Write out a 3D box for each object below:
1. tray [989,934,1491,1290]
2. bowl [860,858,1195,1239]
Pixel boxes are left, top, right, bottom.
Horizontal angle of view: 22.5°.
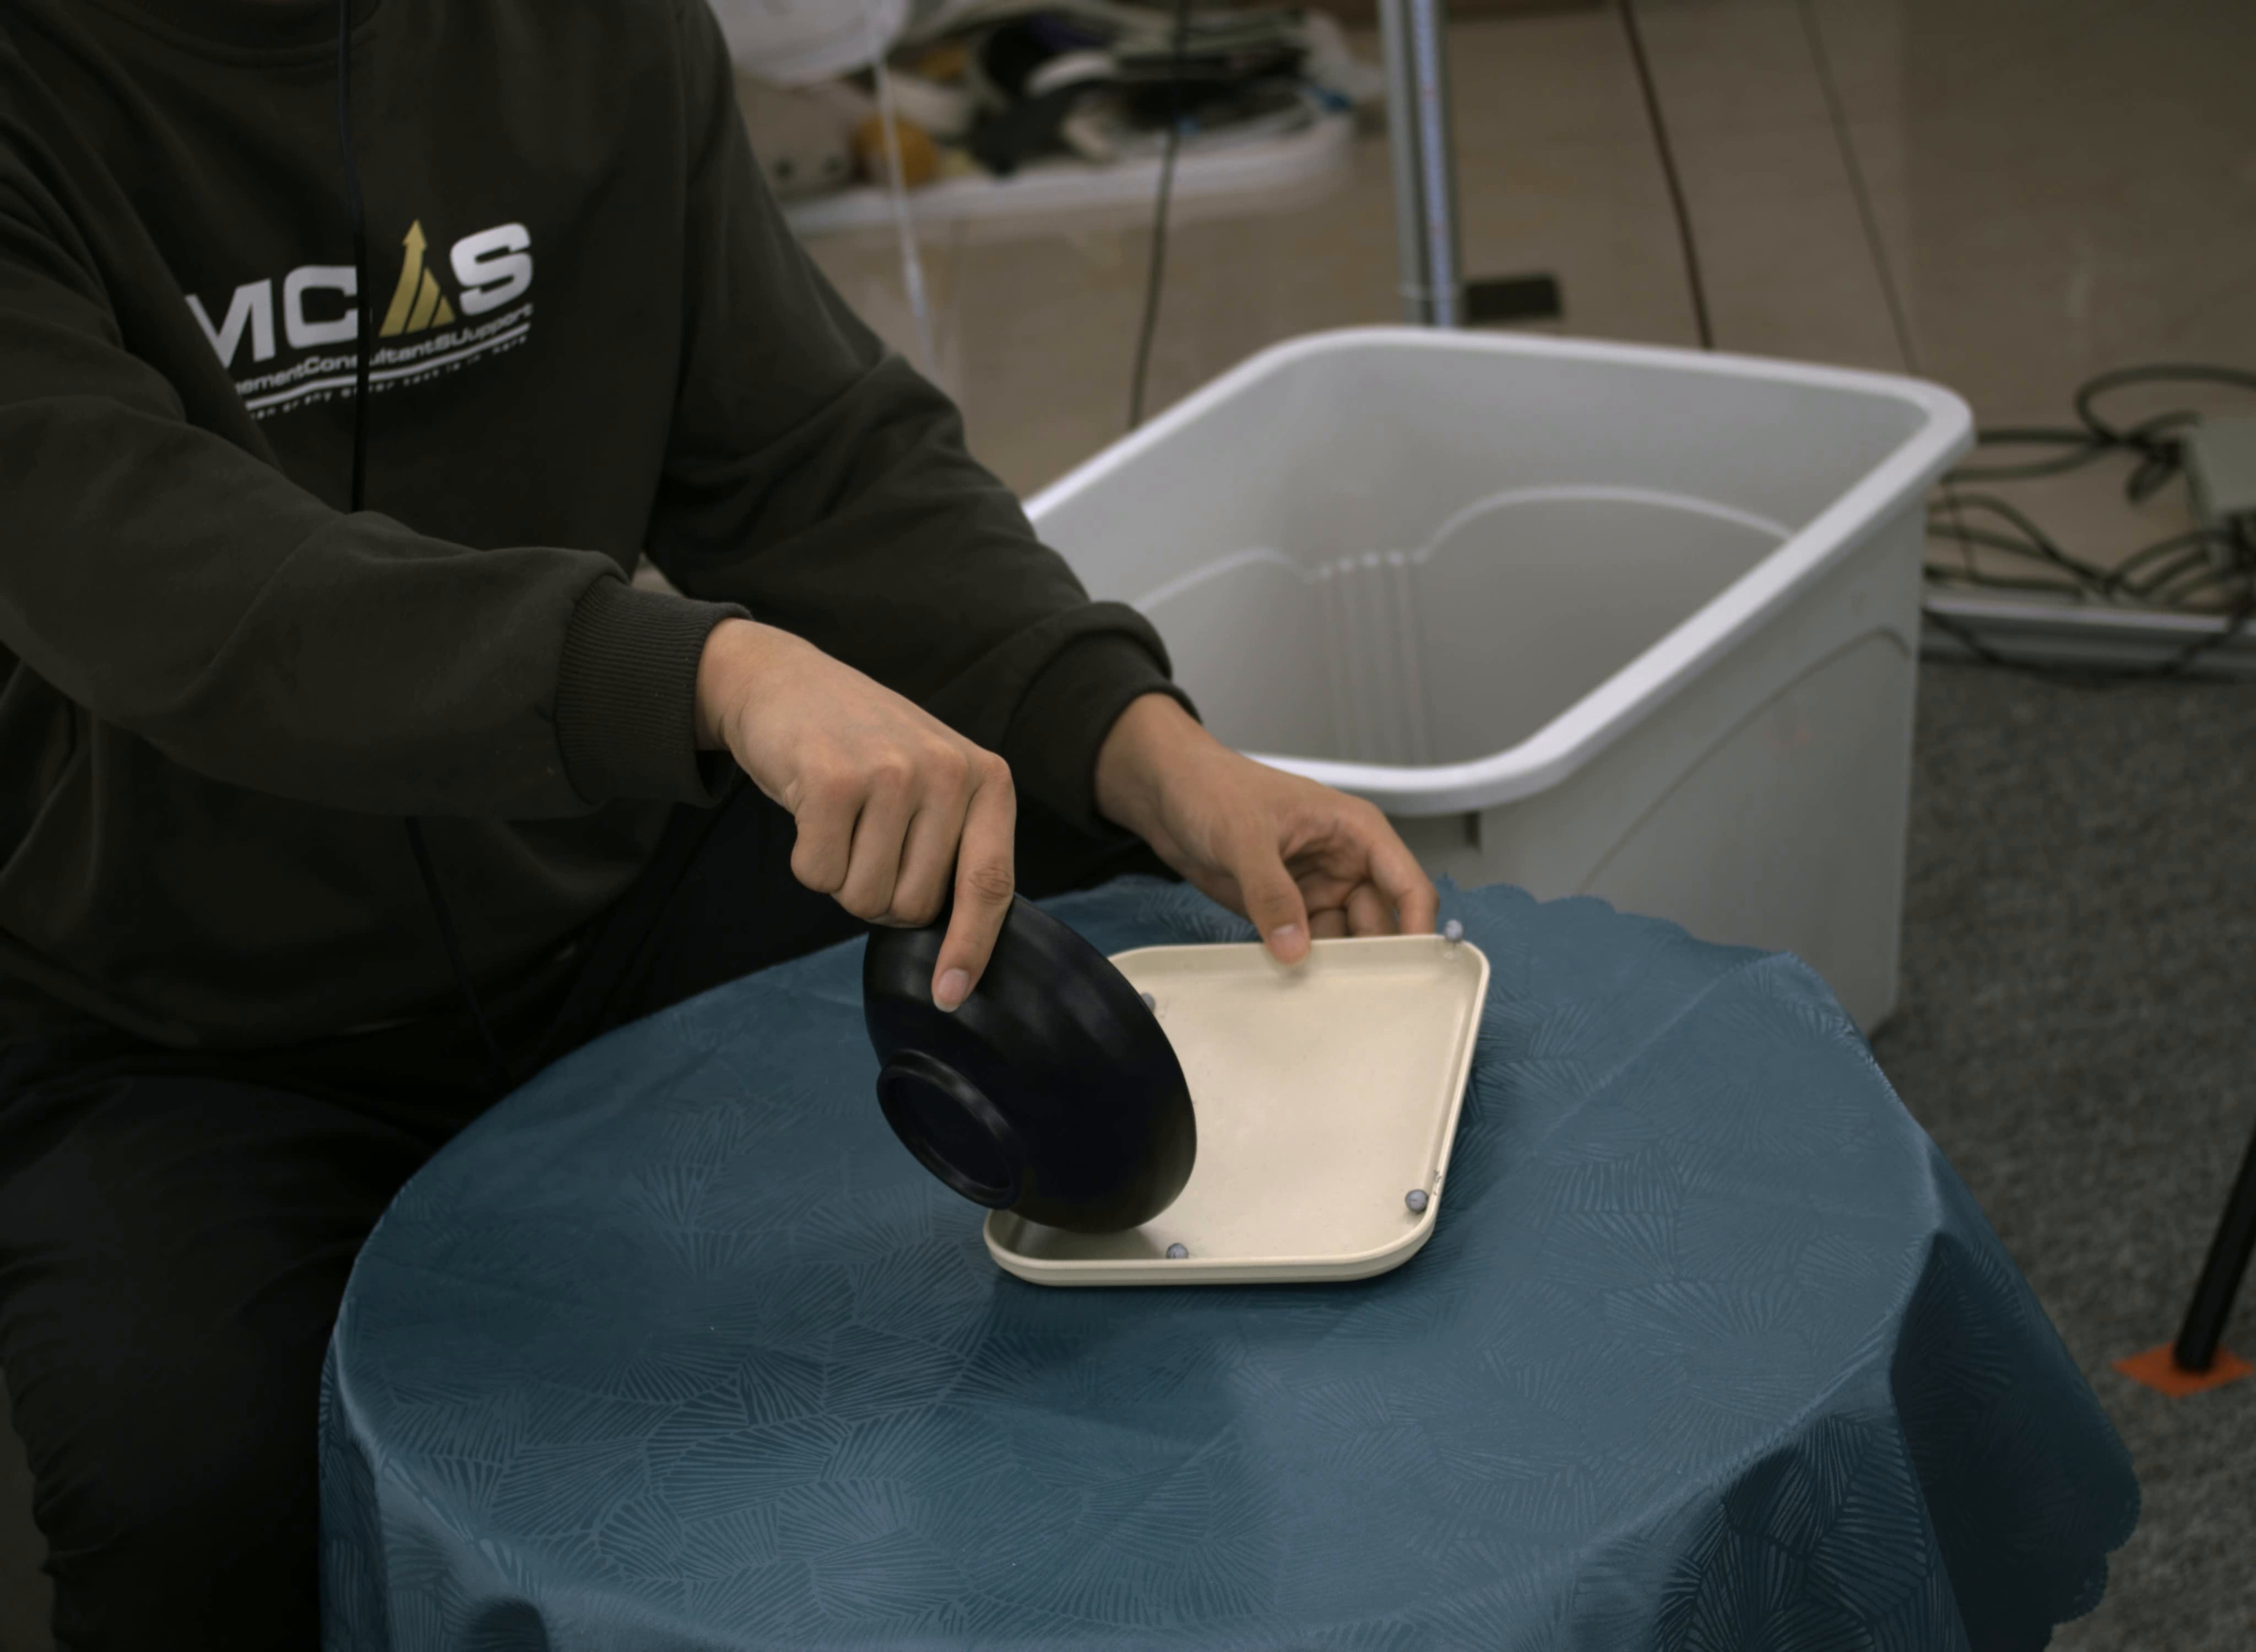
[{"bbox_3d":[0.046,0.109,2.164,0.171,0.018,0.236,-3,28,13],"label":"tray"},{"bbox_3d":[-0.049,0.092,2.065,0.136,0.173,0.066,16,52,46],"label":"bowl"}]
